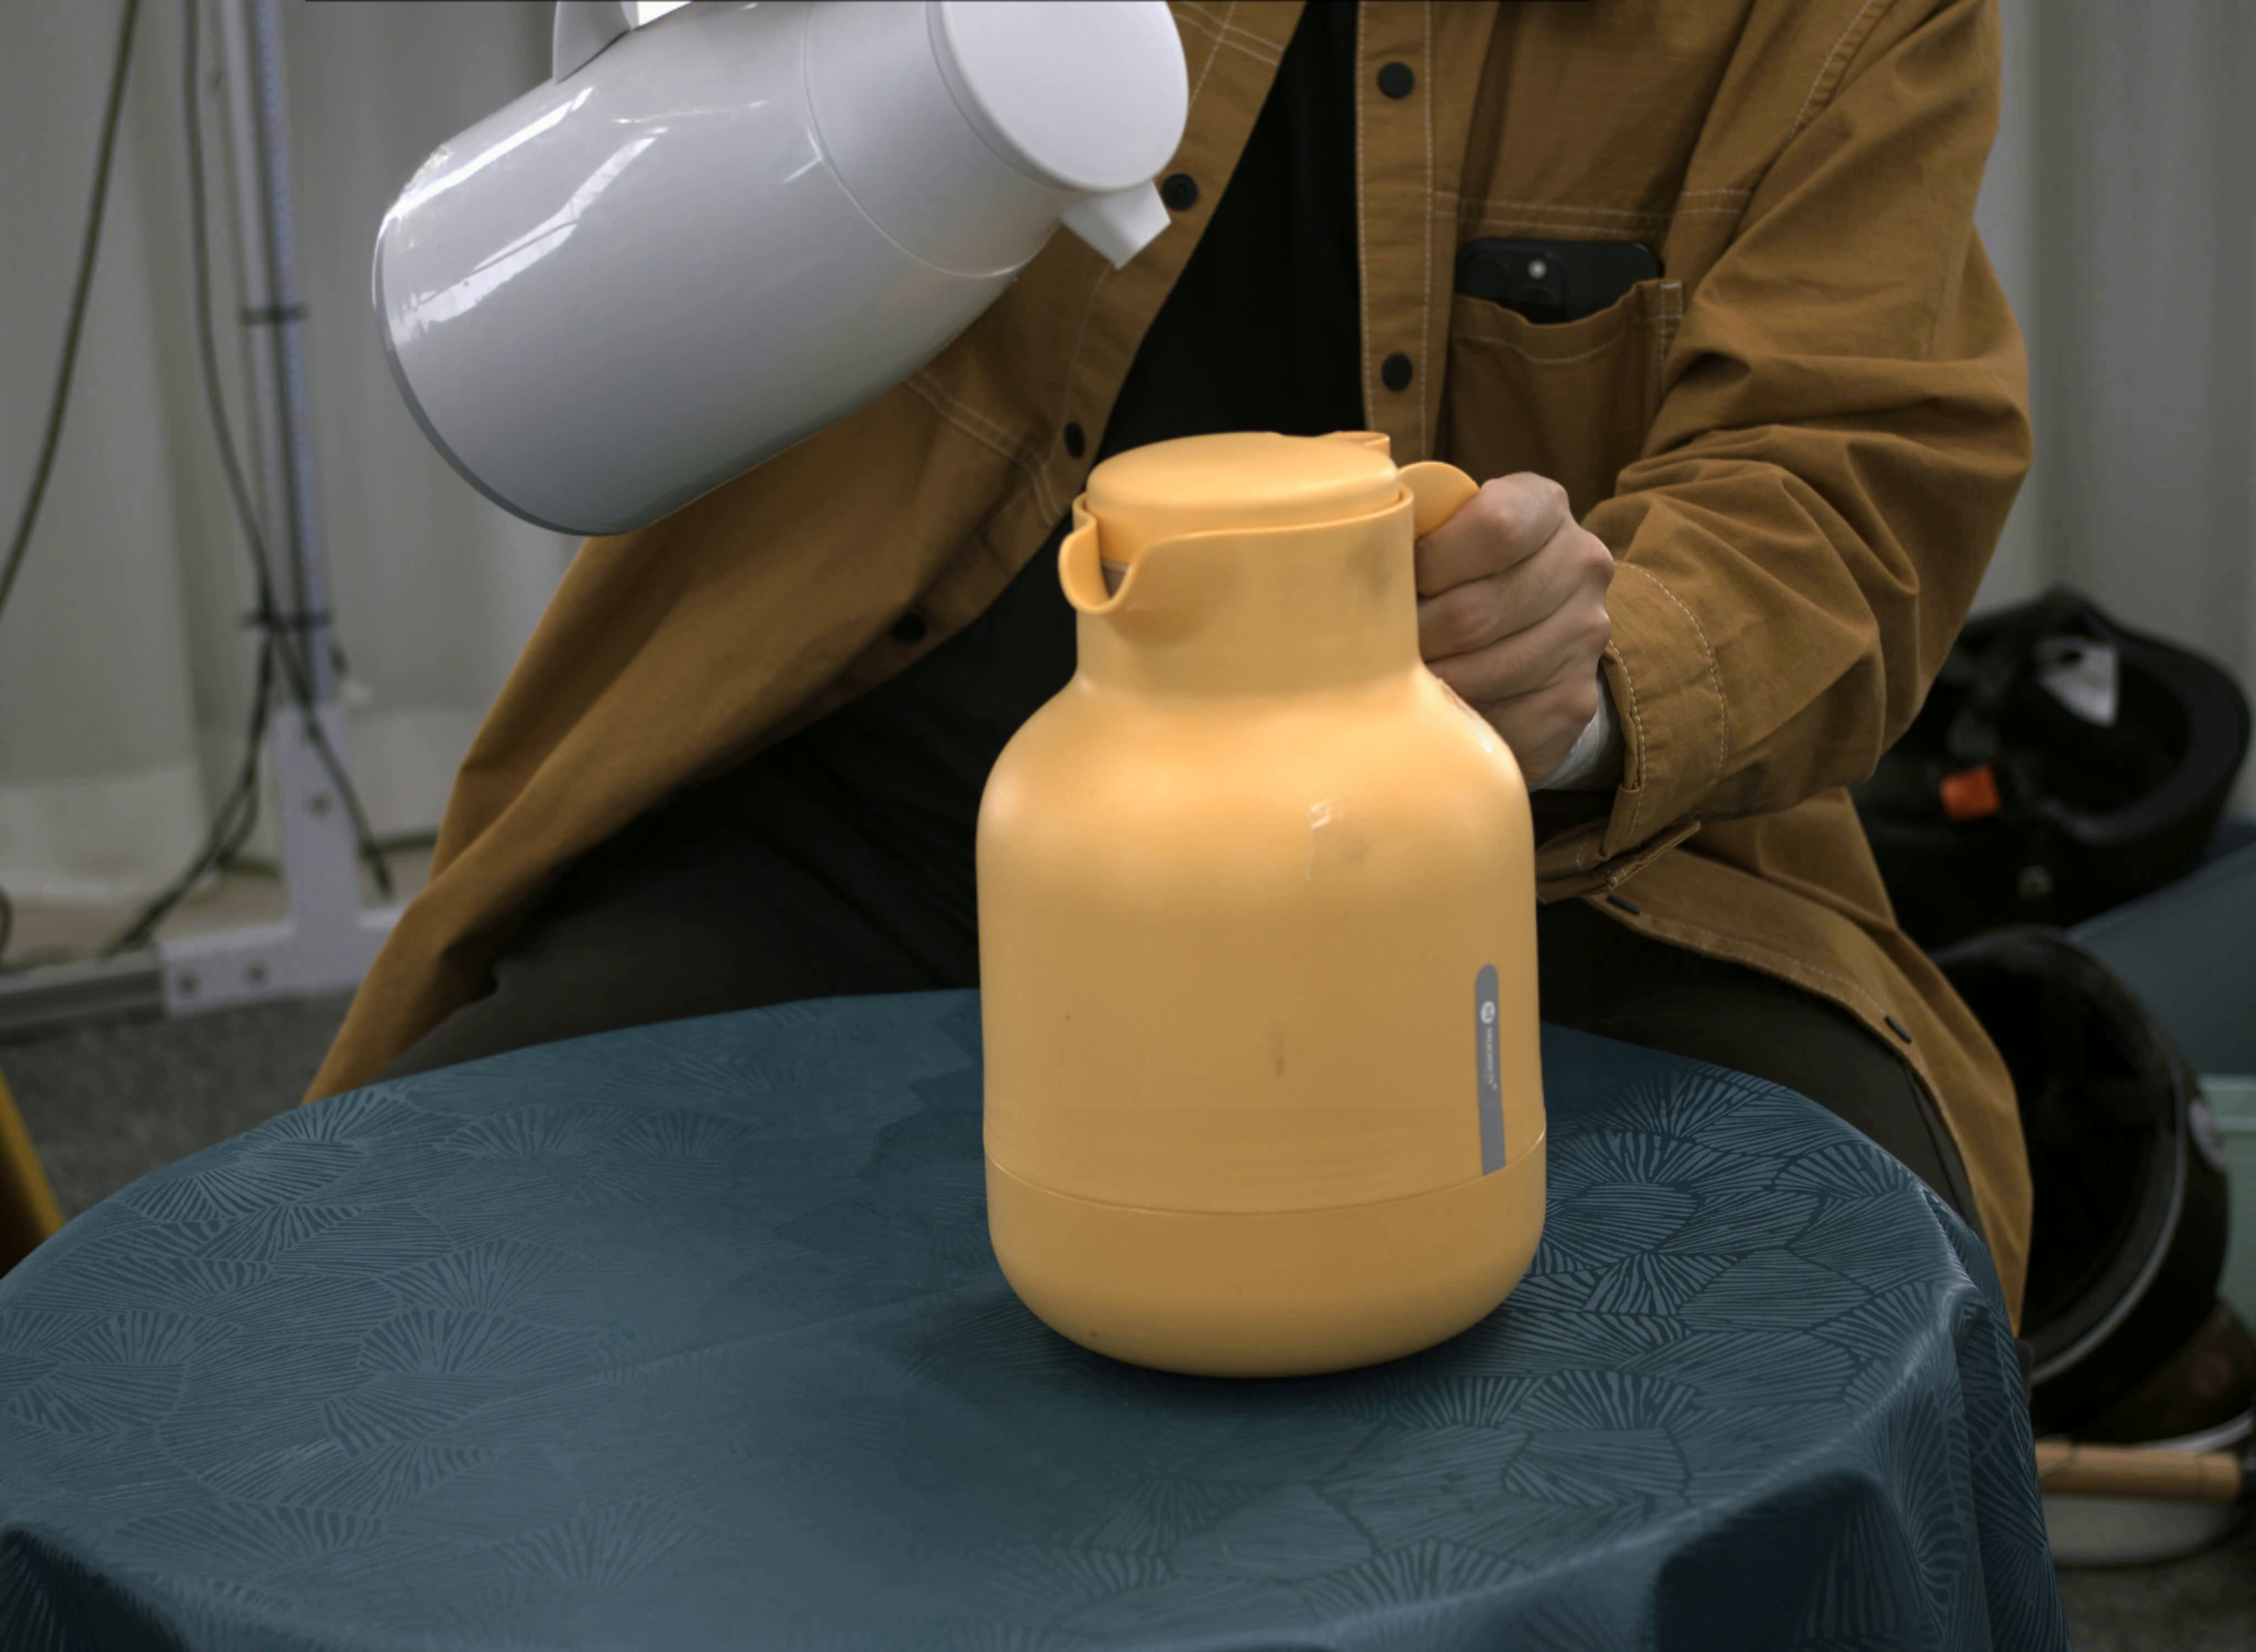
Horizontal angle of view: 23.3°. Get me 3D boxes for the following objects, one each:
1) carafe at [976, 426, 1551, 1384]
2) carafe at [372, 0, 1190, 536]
[{"bbox_3d":[0.050,0.015,1.581,0.164,0.259,0.202,10,19,38],"label":"carafe"},{"bbox_3d":[-0.106,-0.201,1.592,0.248,0.167,0.133,-24,15,42],"label":"carafe"}]
